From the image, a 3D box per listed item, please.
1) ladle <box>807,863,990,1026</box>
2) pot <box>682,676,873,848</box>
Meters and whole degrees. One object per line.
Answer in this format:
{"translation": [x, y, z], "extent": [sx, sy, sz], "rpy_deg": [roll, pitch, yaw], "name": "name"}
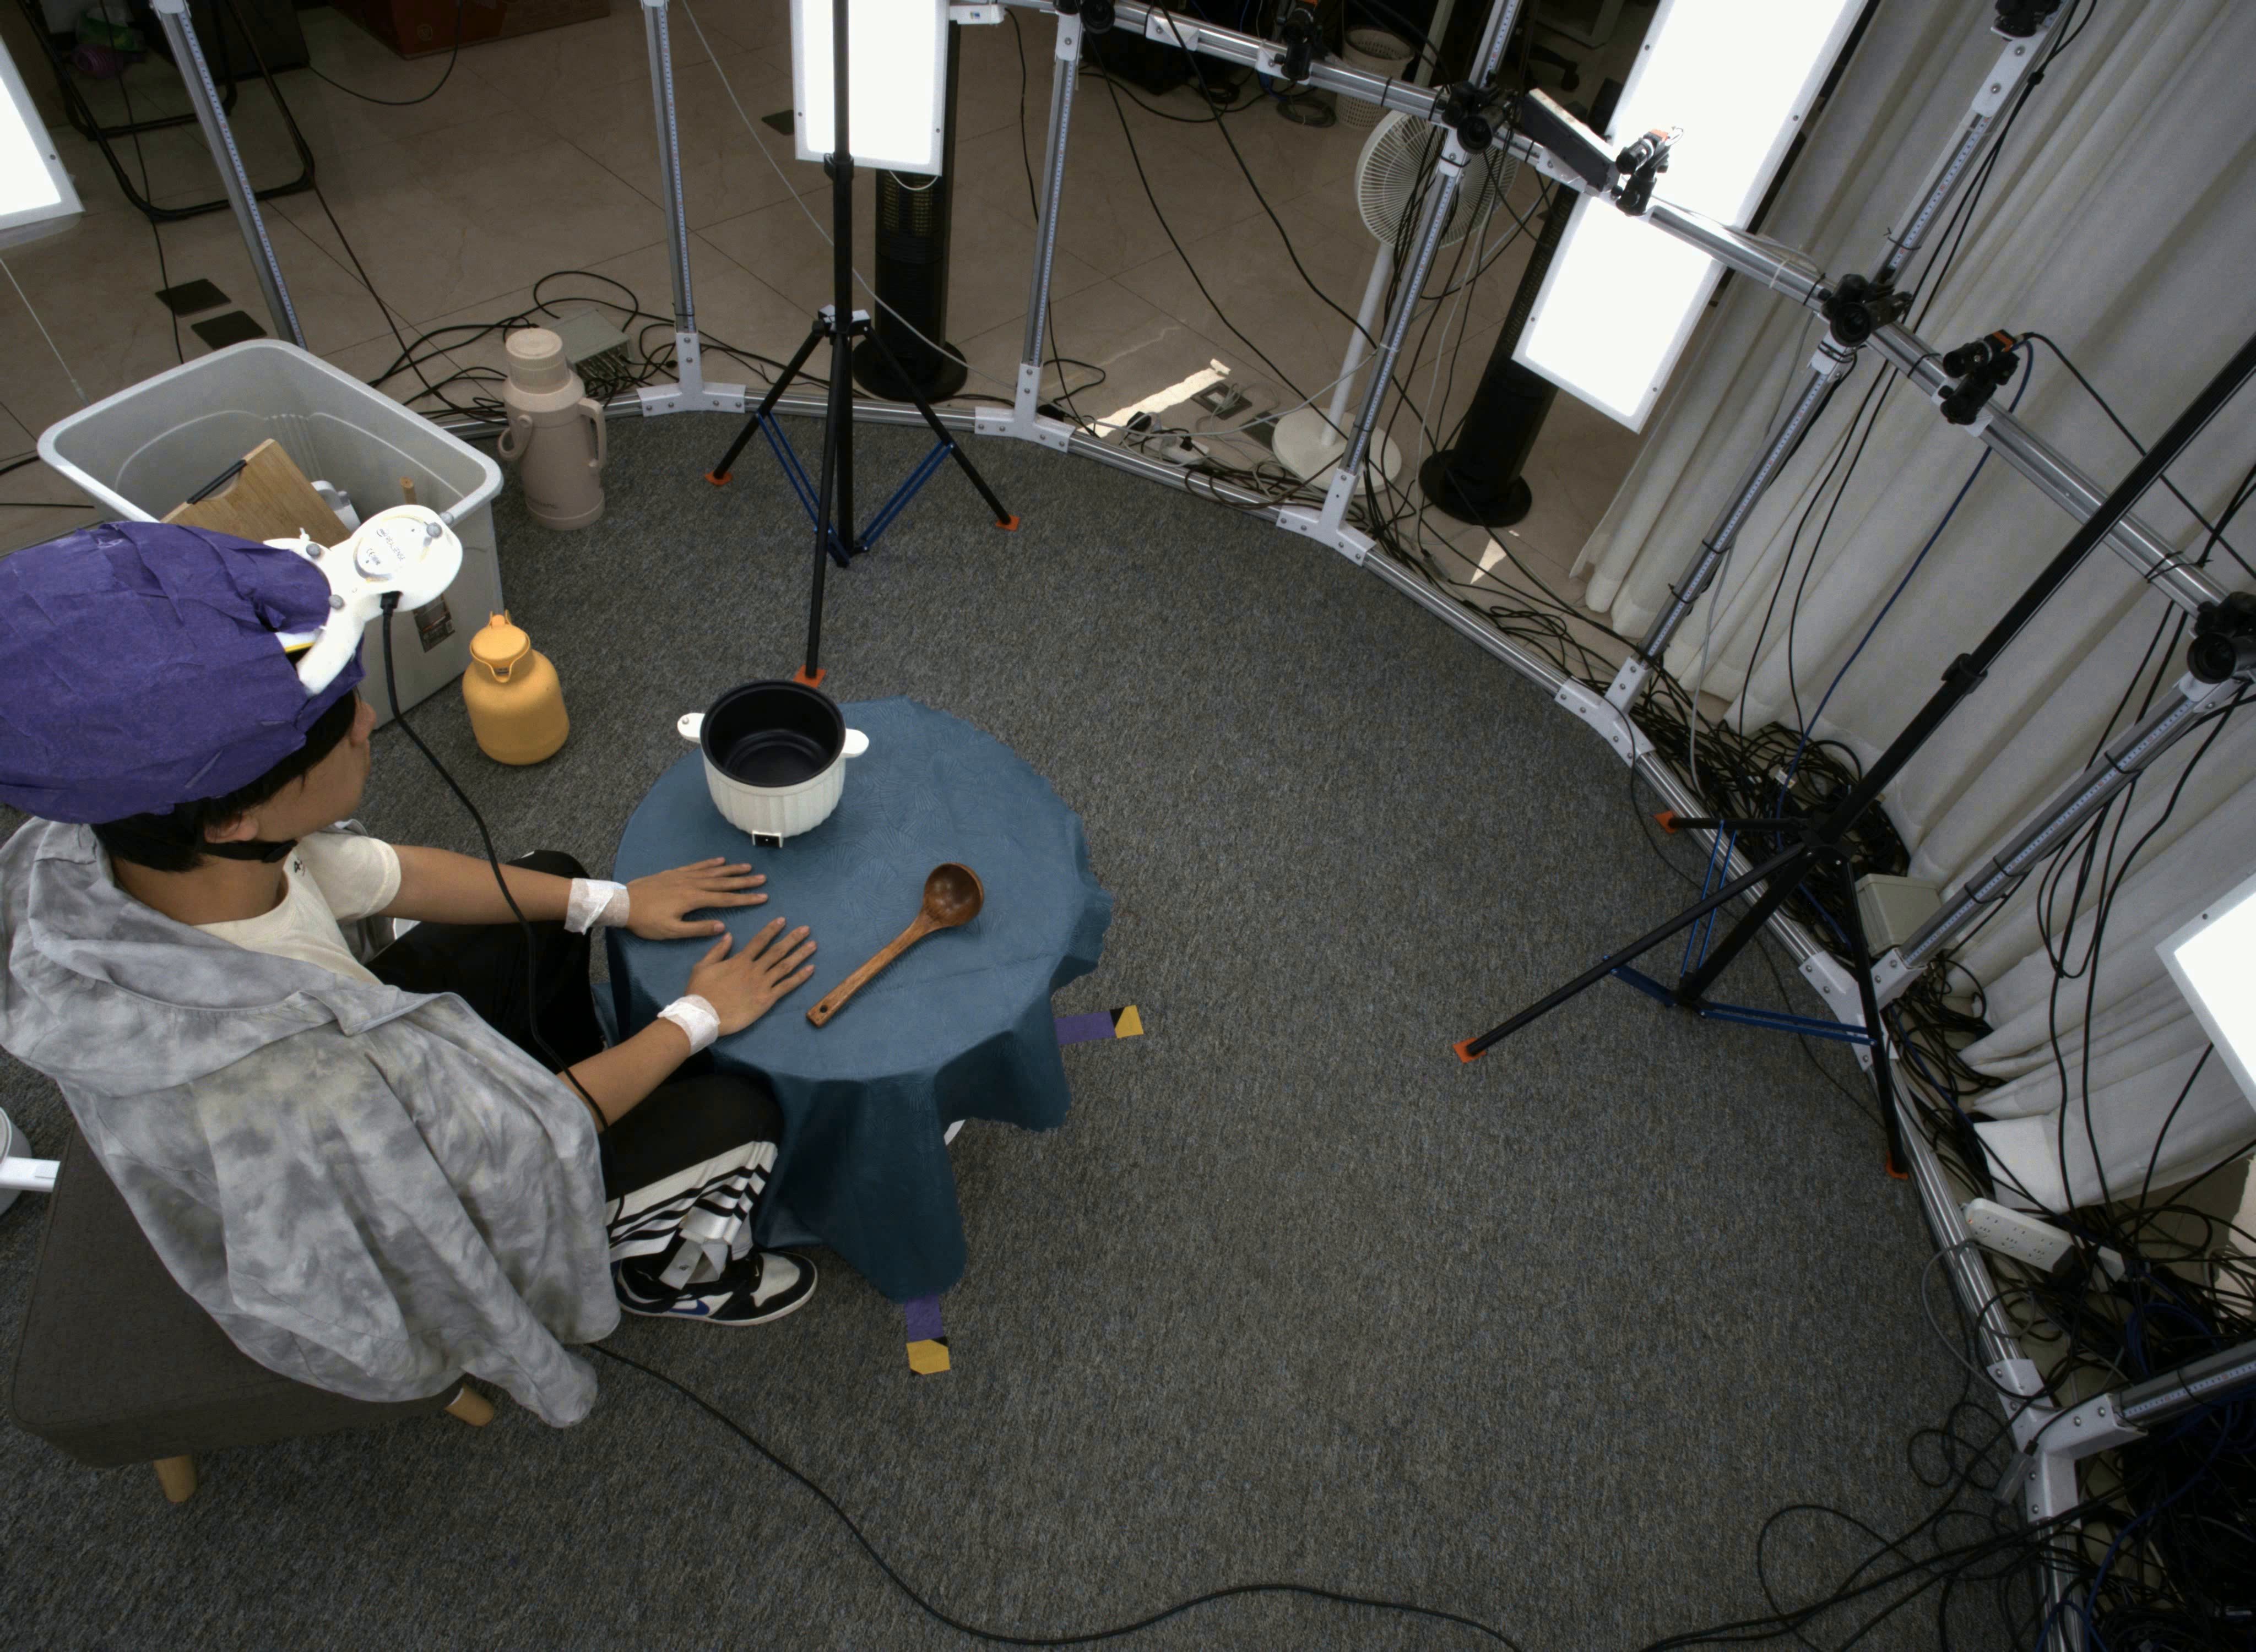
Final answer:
{"translation": [-0.281, 0.144, 1.604], "extent": [0.081, 0.077, 0.274], "rpy_deg": [43, 55, 10], "name": "ladle"}
{"translation": [-0.455, -0.086, 1.693], "extent": [0.240, 0.145, 0.187], "rpy_deg": [6, 56, -10], "name": "pot"}
